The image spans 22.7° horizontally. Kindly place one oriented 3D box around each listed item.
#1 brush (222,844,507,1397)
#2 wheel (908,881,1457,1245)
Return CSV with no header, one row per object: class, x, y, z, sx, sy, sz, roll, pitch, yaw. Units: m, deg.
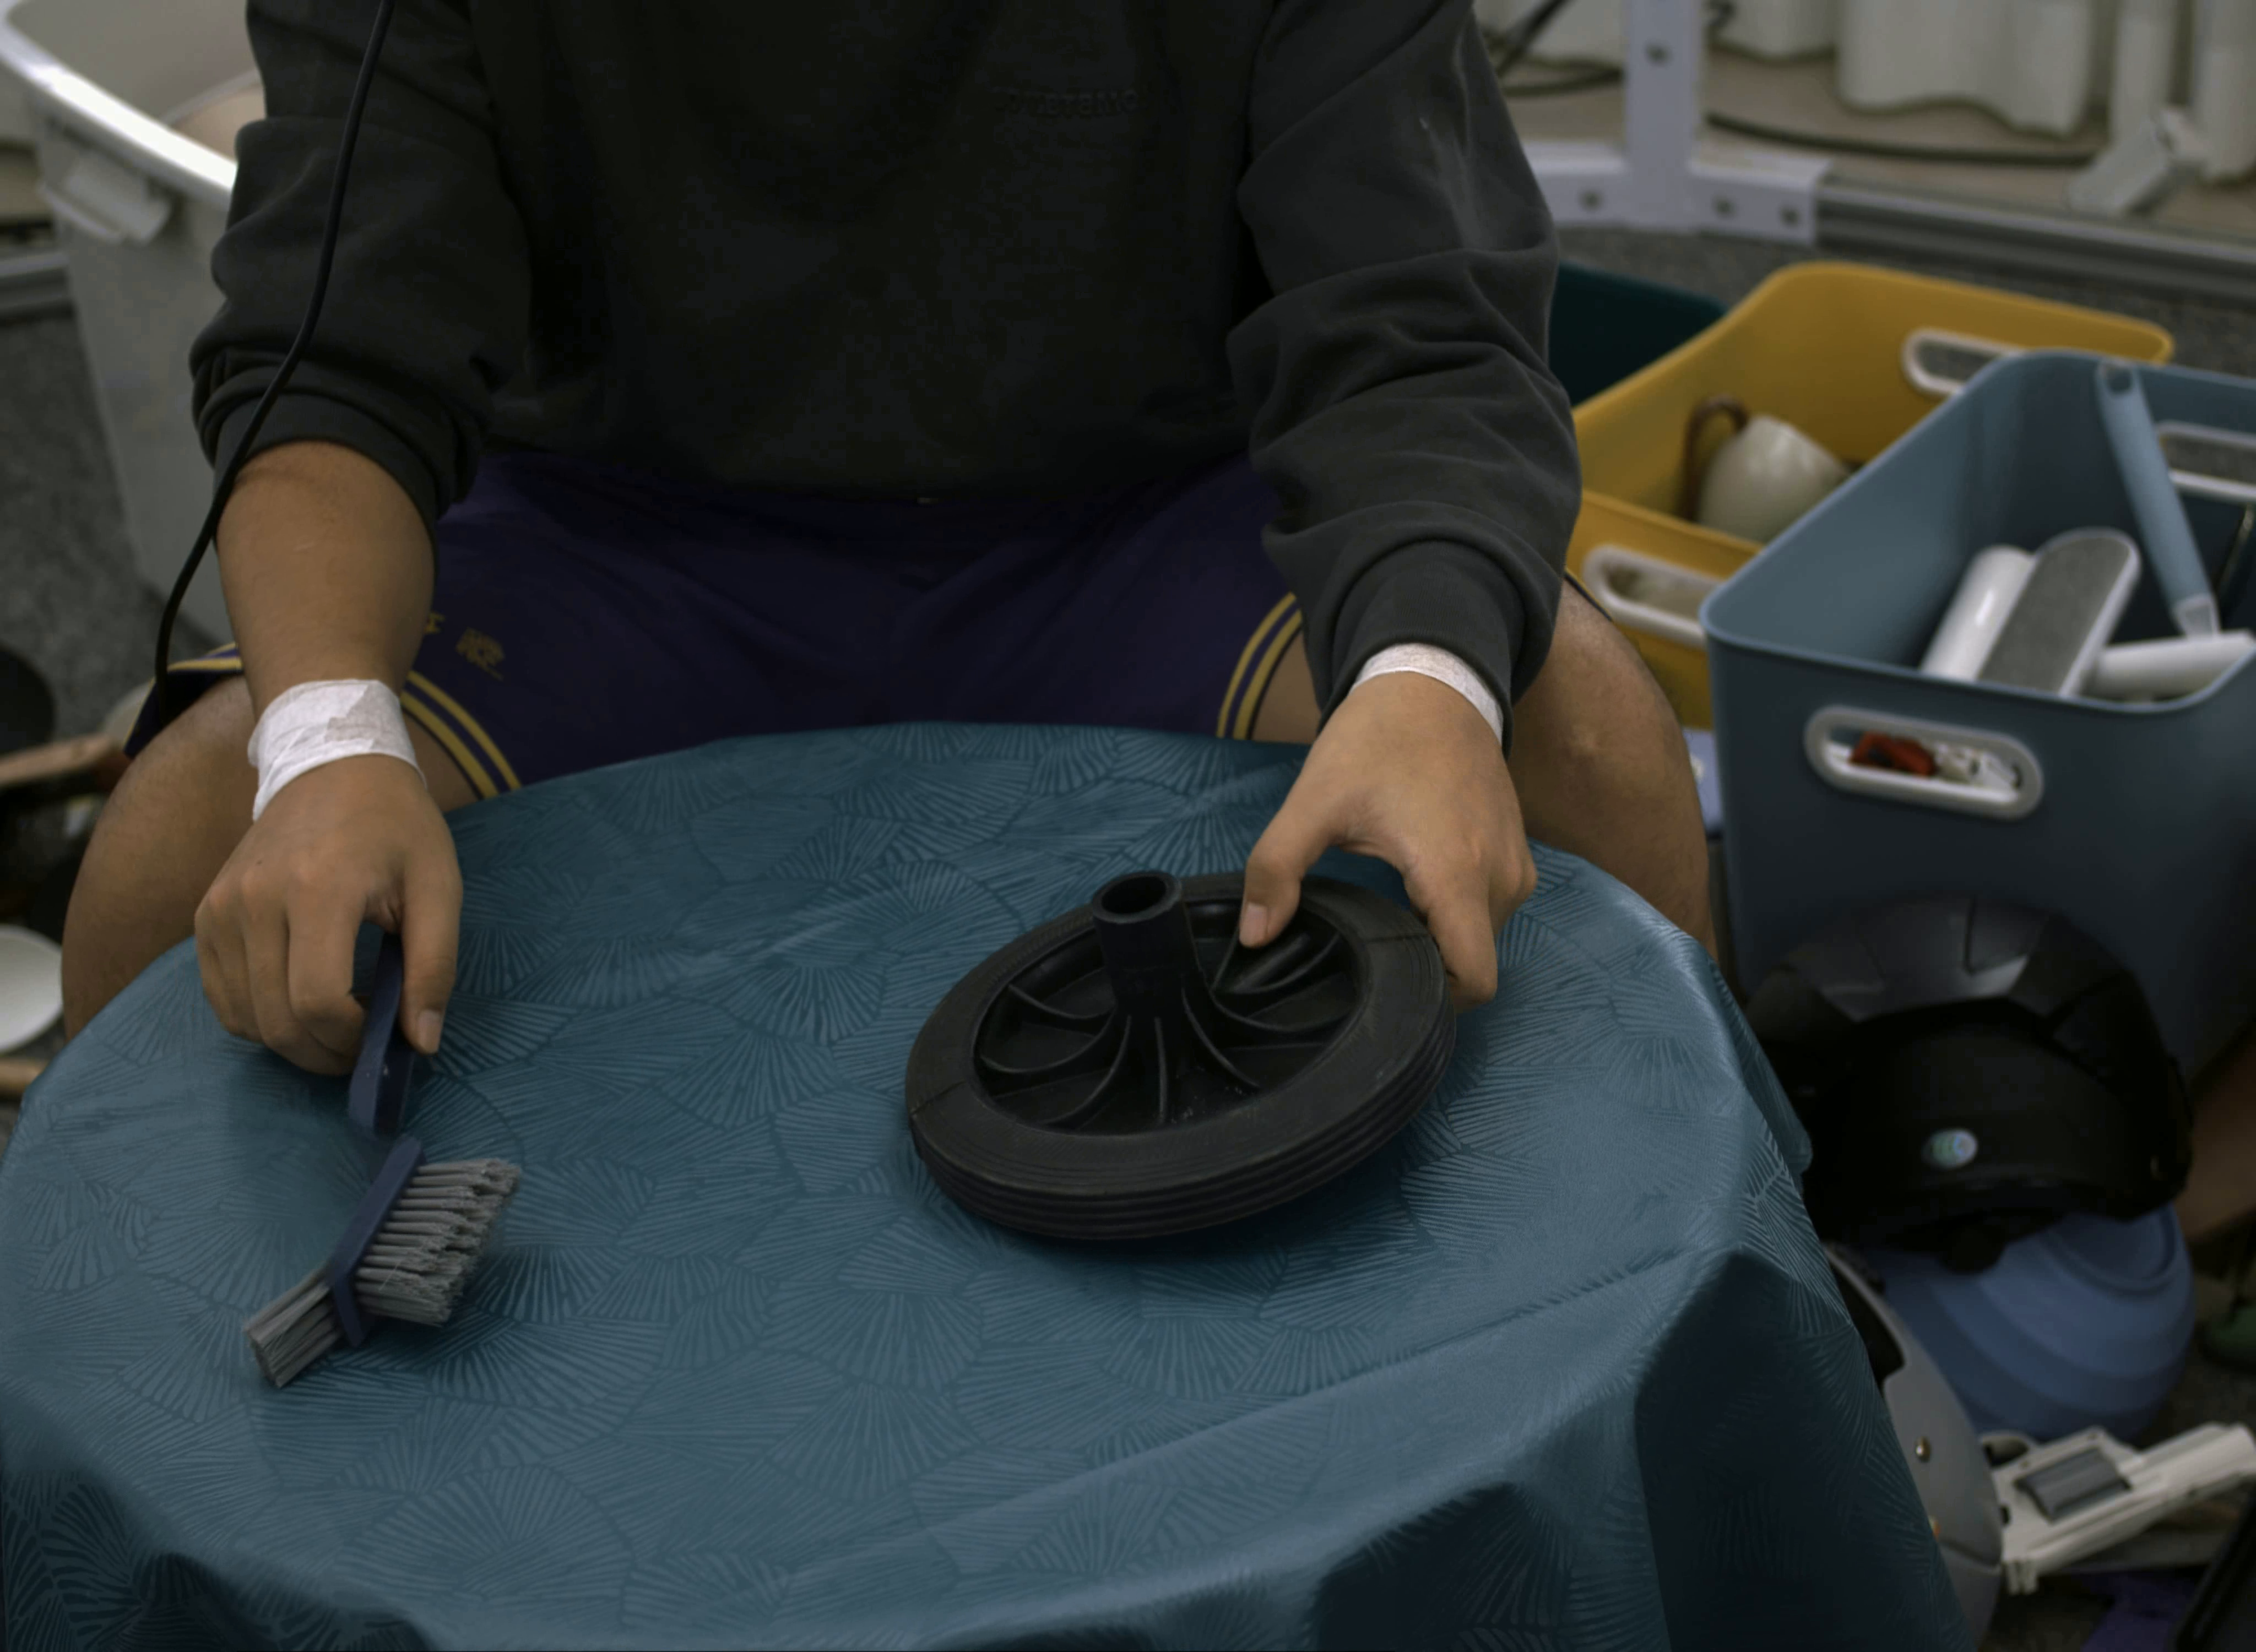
brush,-0.260,0.094,1.898,0.095,0.033,0.277,-17,29,0
wheel,0.013,0.060,1.880,0.186,0.078,0.193,0,31,24
